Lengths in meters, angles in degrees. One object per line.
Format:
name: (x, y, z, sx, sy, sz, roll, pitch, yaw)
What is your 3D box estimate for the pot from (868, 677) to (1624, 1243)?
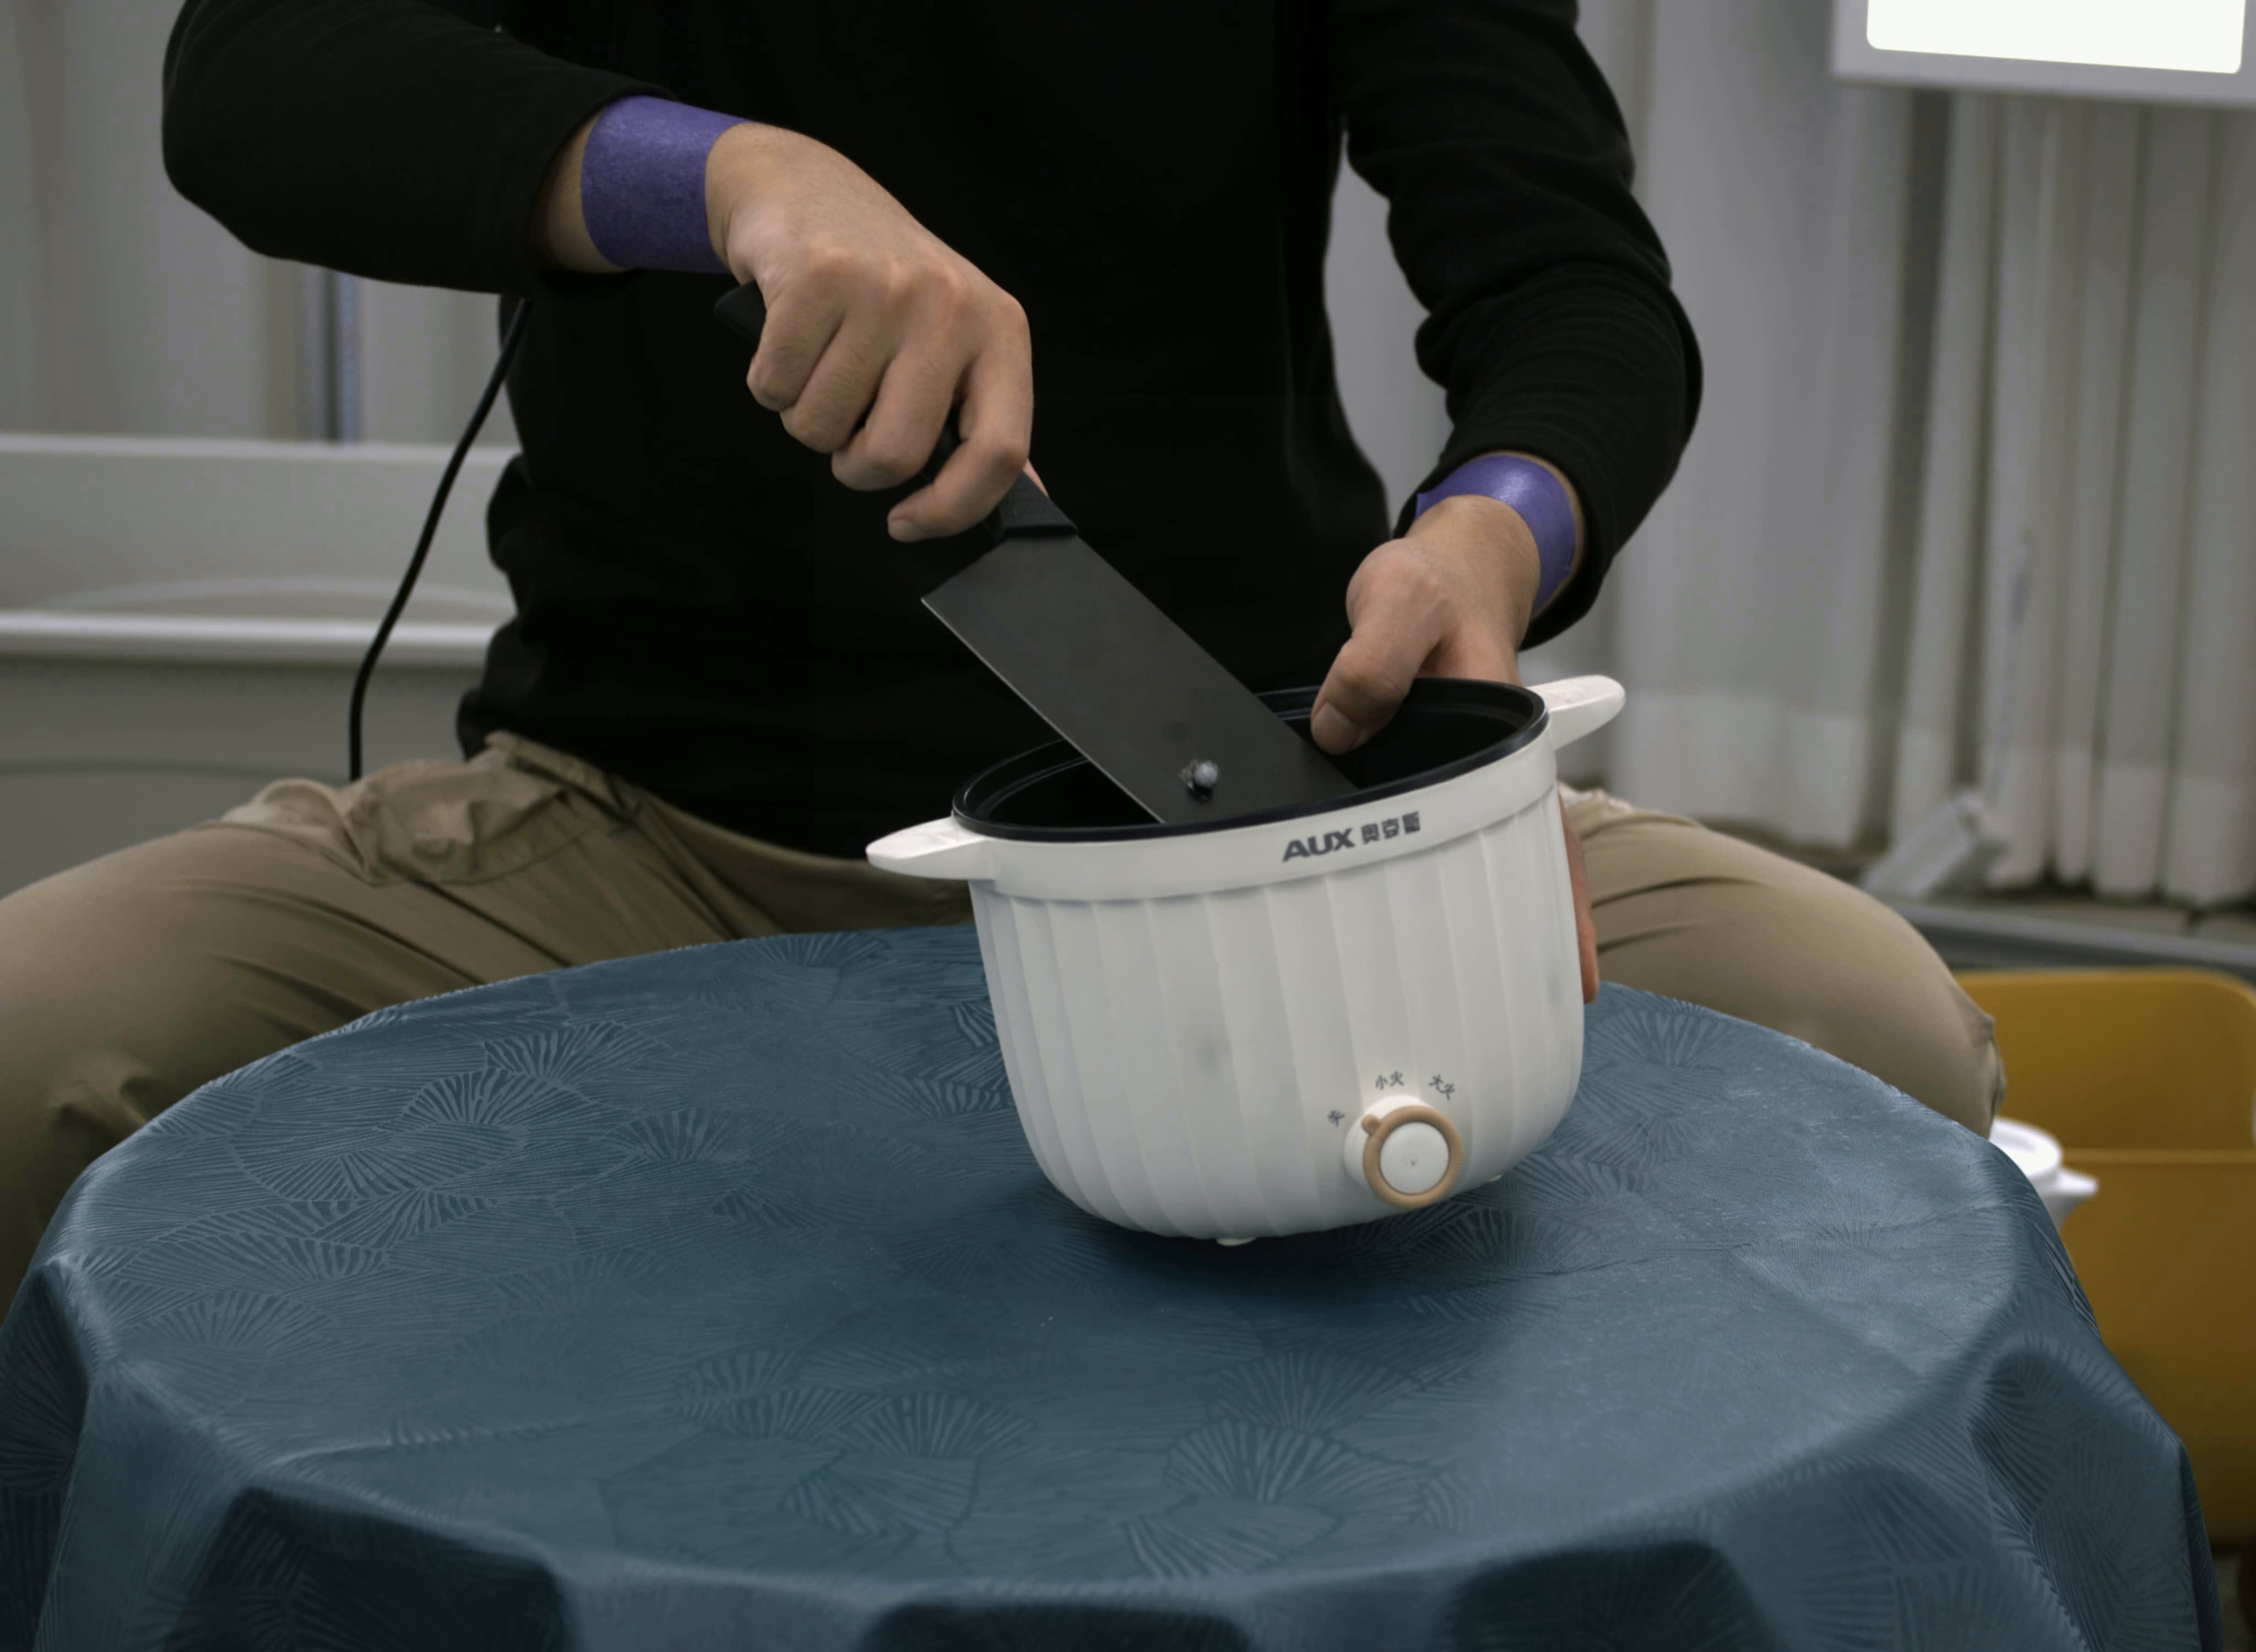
pot: (0.050, 0.042, 1.581, 0.240, 0.143, 0.189, -14, 10, -15)

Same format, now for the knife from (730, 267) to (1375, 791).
knife: (-0.014, -0.071, 1.633, 0.300, 0.021, 0.081, 45, 47, 14)
